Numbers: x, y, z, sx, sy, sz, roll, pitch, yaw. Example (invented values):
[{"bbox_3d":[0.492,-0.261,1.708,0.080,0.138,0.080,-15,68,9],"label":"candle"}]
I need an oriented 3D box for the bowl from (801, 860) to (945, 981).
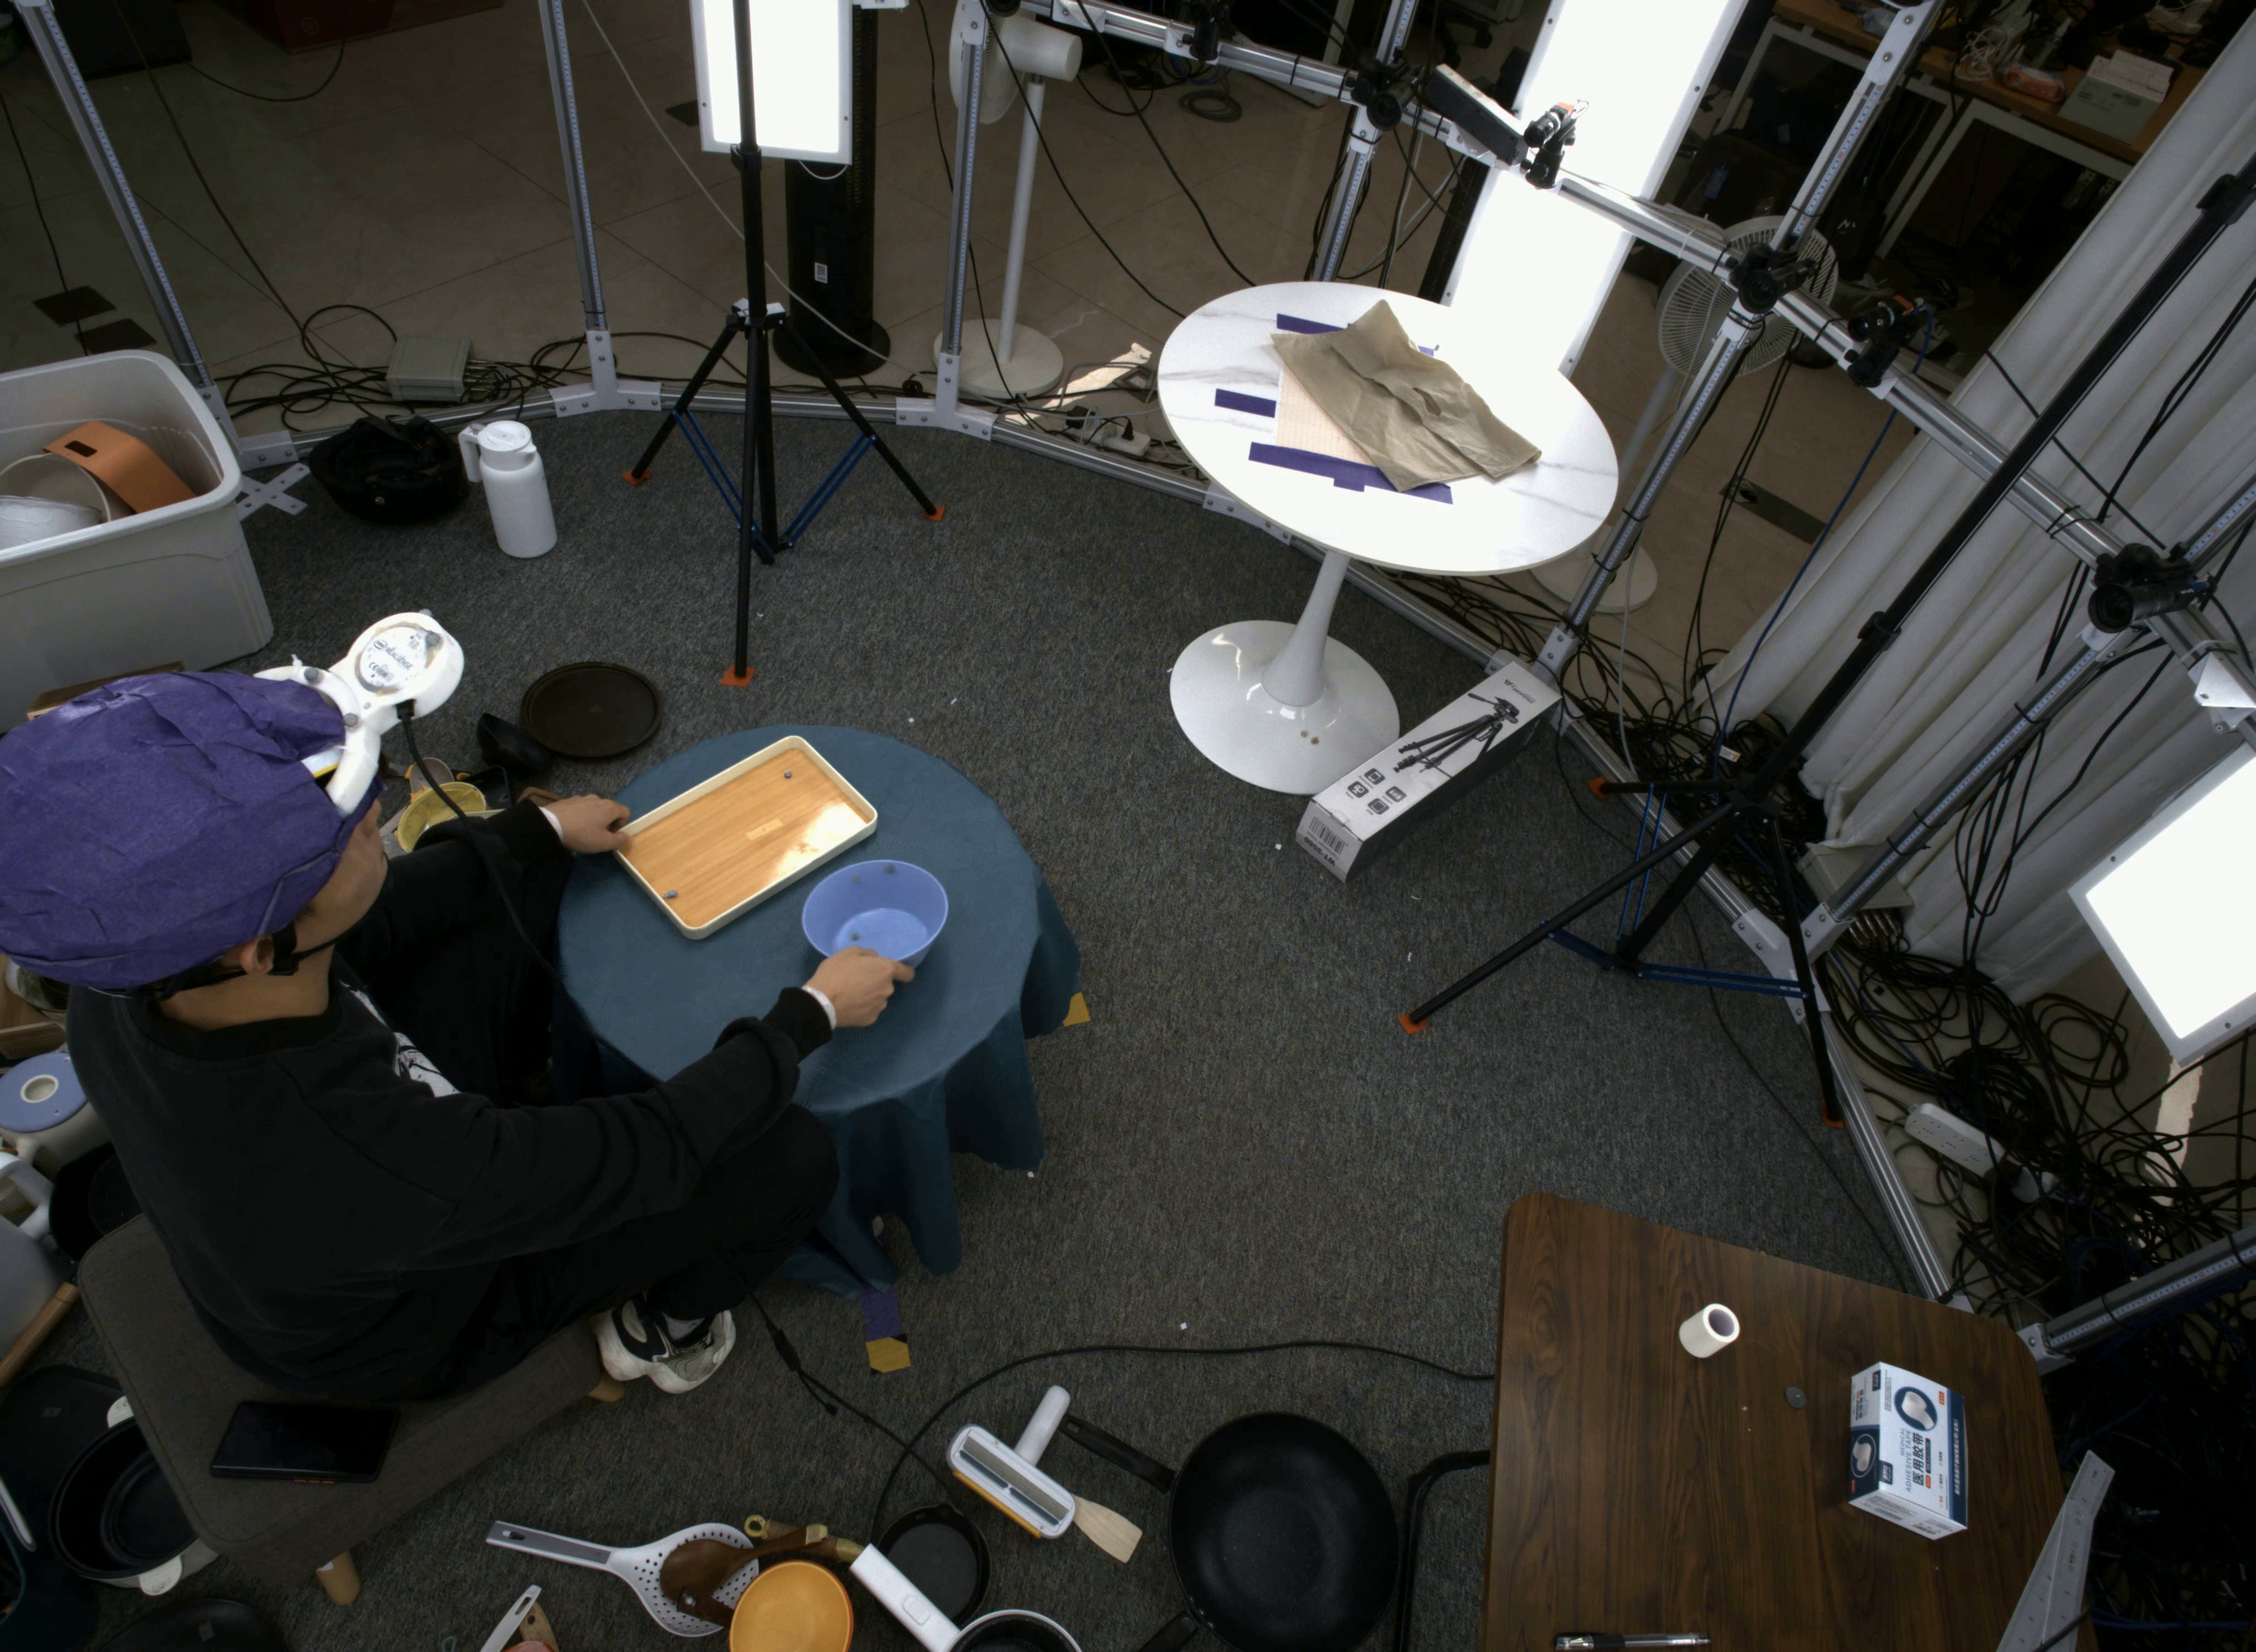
[{"bbox_3d":[-0.312,0.125,1.607,0.174,0.072,0.172,4,44,-3],"label":"bowl"}]

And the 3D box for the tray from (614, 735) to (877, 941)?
[{"bbox_3d":[-0.497,0.008,1.688,0.187,0.028,0.301,42,55,18],"label":"tray"}]
